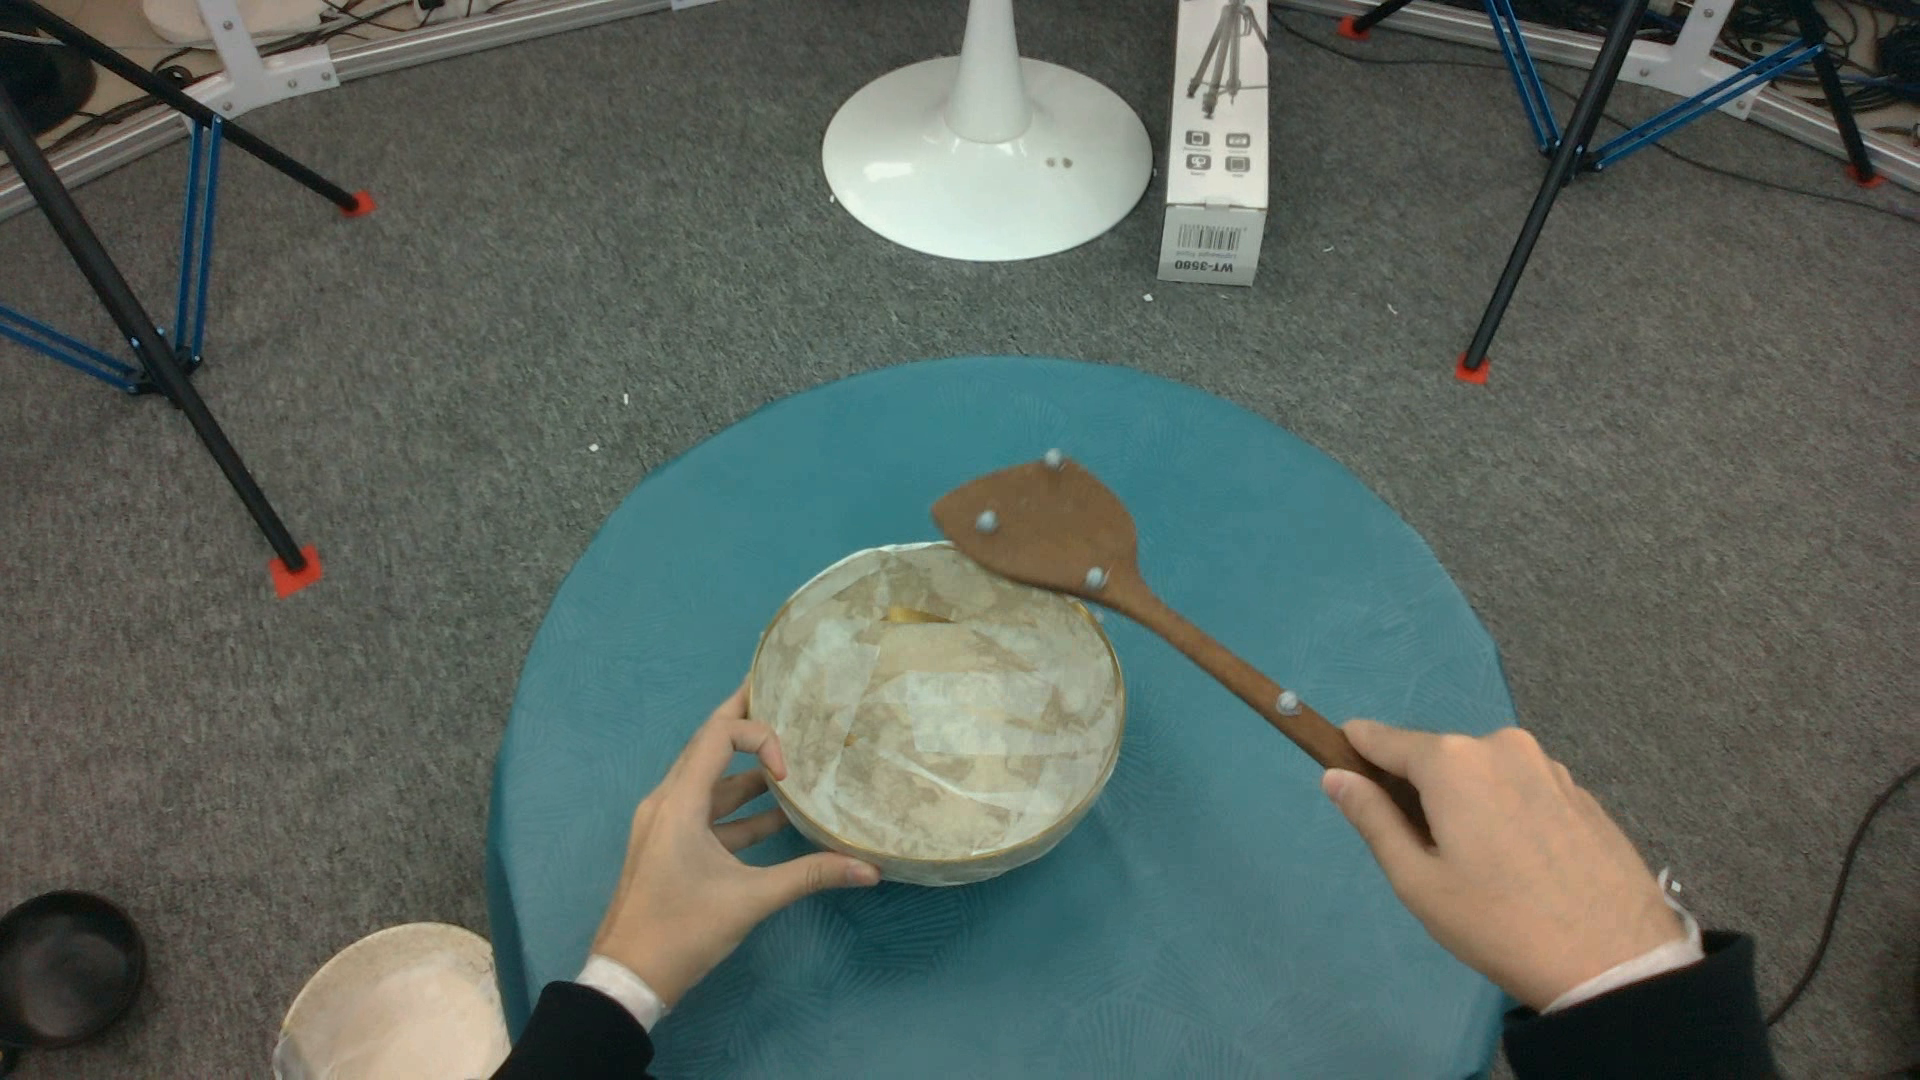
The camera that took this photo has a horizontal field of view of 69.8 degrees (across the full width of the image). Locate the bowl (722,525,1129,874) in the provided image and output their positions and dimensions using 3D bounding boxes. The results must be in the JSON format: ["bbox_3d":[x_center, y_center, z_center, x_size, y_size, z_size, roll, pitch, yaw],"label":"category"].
[{"bbox_3d":[-0.019,0.100,0.752,0.215,0.094,0.215,3,51,-4],"label":"bowl"}]

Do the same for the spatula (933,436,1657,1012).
[{"bbox_3d":[0.126,0.057,0.591,0.096,0.016,0.386,-22,43,-29],"label":"spatula"}]
